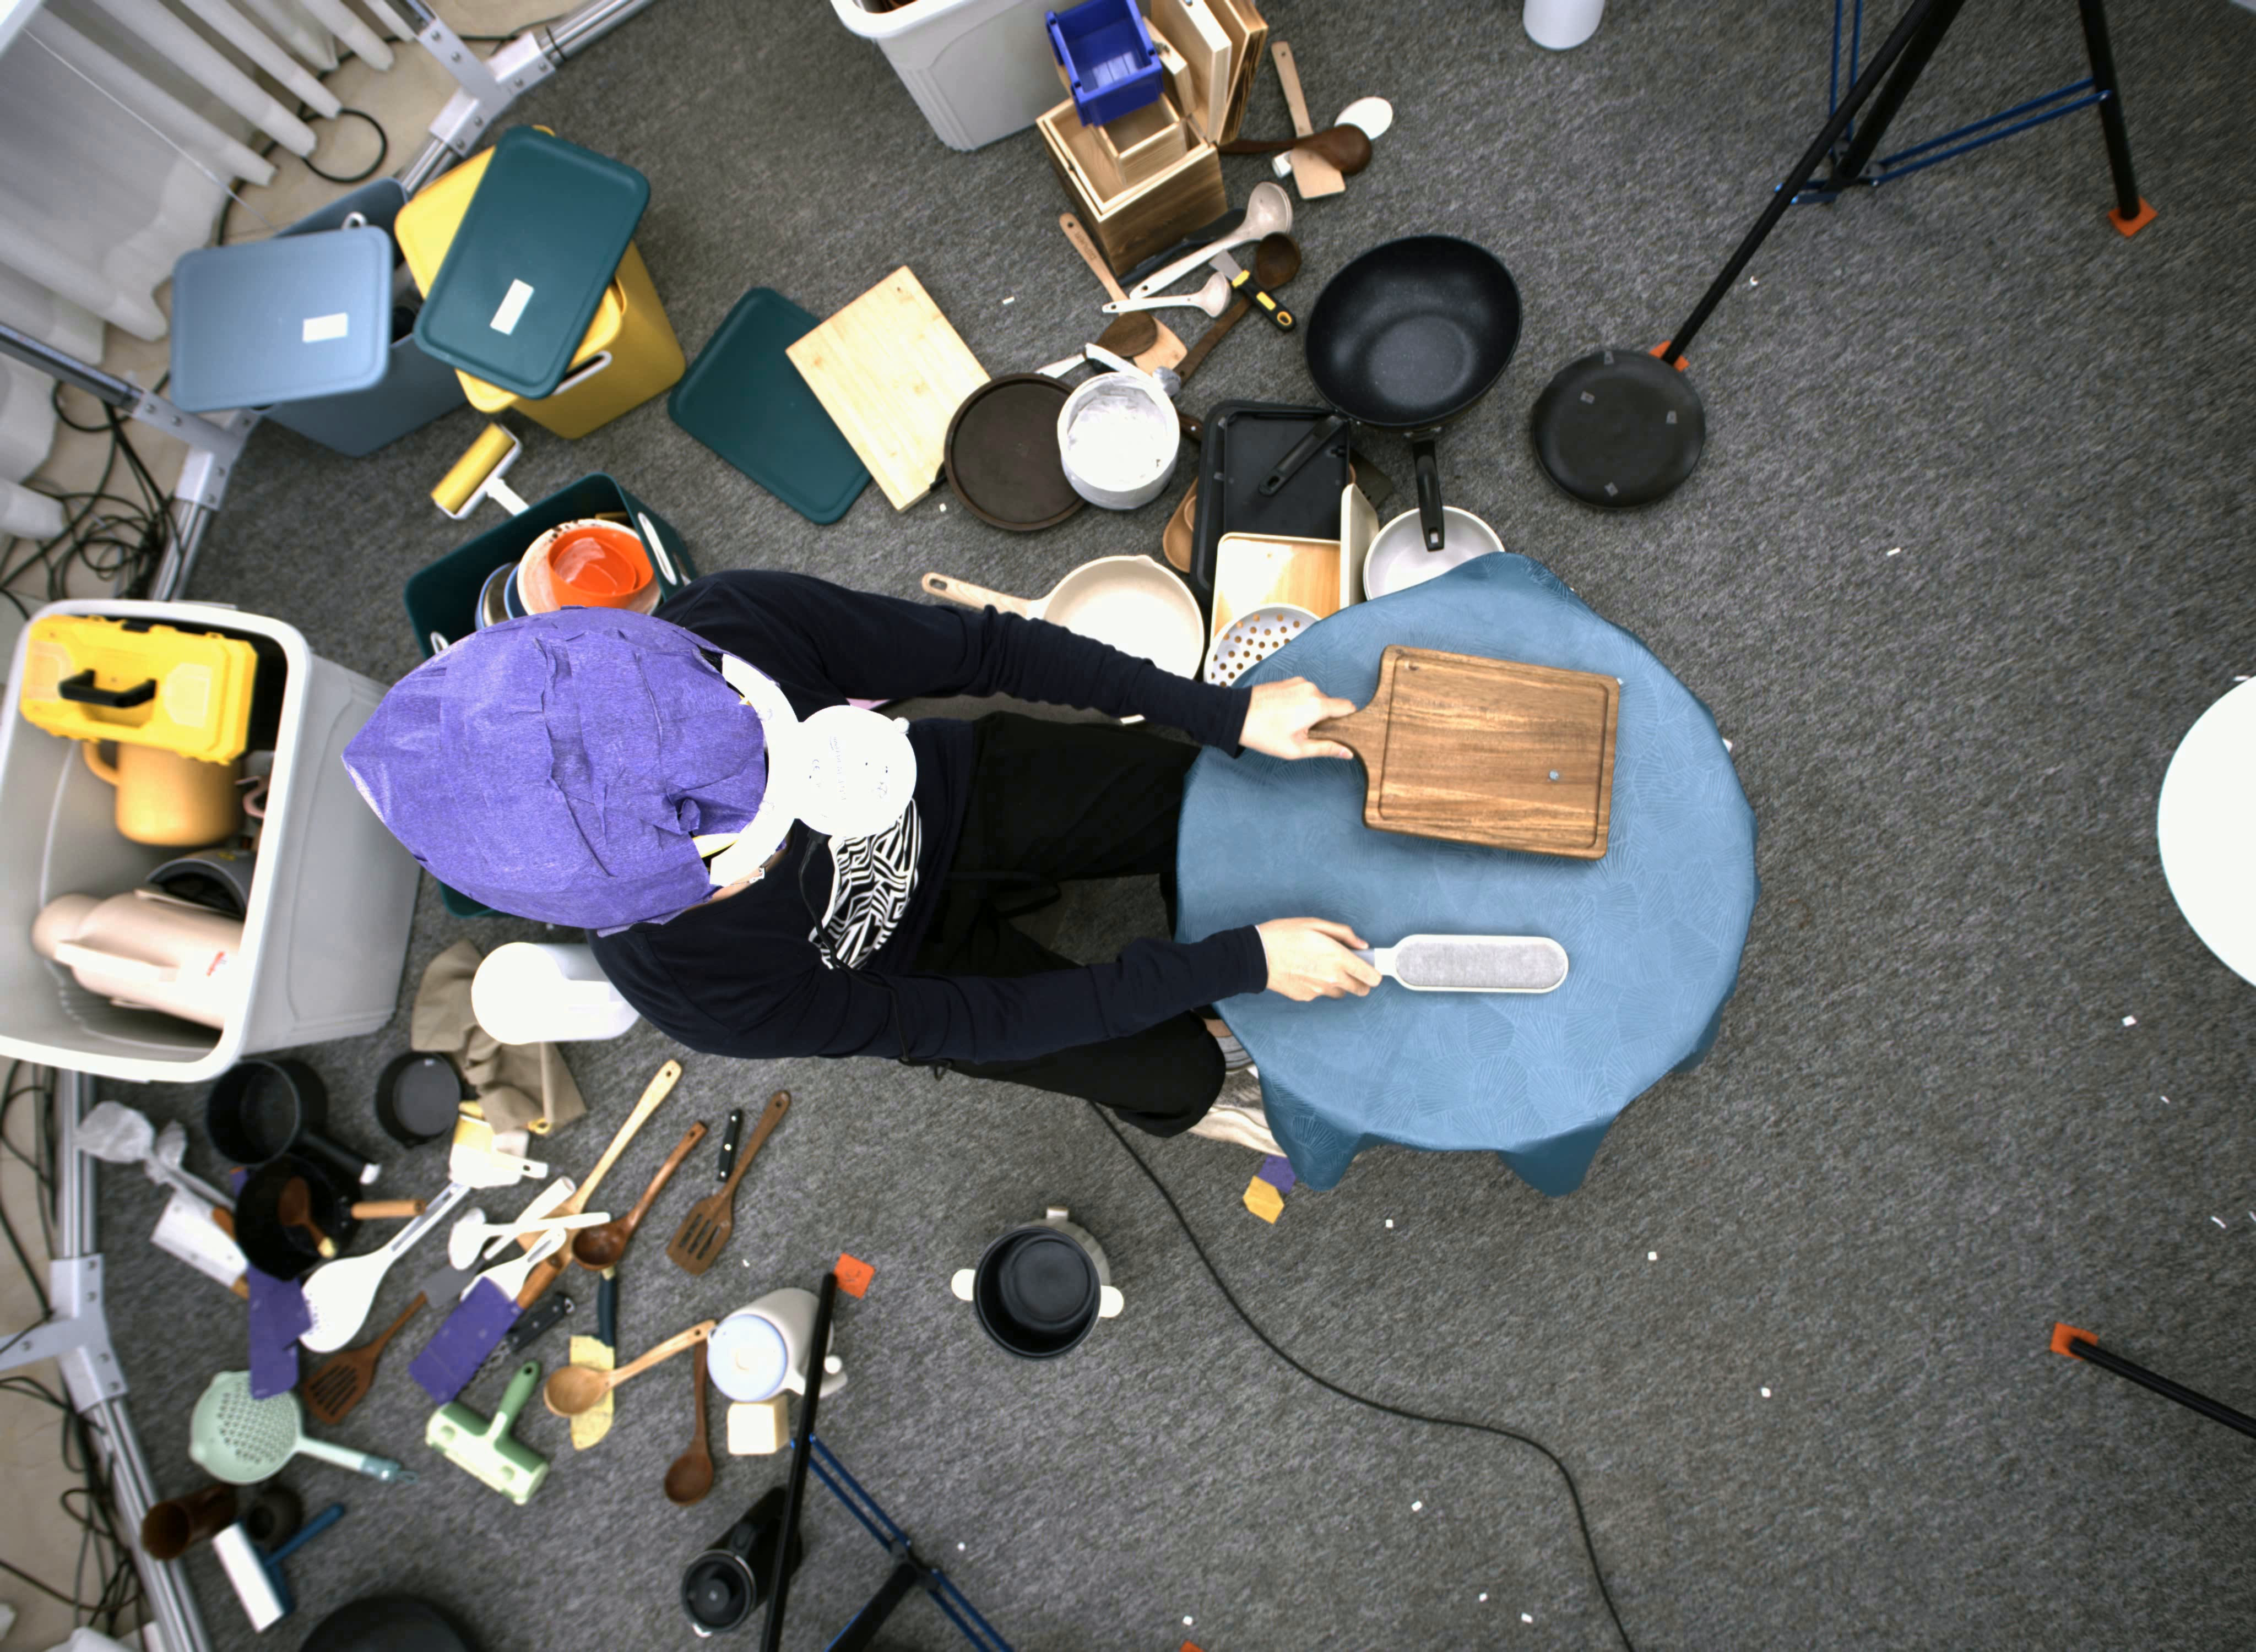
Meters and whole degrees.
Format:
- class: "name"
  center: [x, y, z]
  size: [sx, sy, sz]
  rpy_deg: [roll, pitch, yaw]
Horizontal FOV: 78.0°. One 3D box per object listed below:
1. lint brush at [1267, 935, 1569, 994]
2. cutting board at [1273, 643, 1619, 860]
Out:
- class: "lint brush"
  center: [0.298, 0.139, 1.421]
  size: [0.309, 0.020, 0.060]
  rpy_deg: [1, 102, 5]
- class: "cutting board"
  center: [0.324, -0.087, 1.408]
  size: [0.352, 0.023, 0.199]
  rpy_deg: [8, 81, 2]
